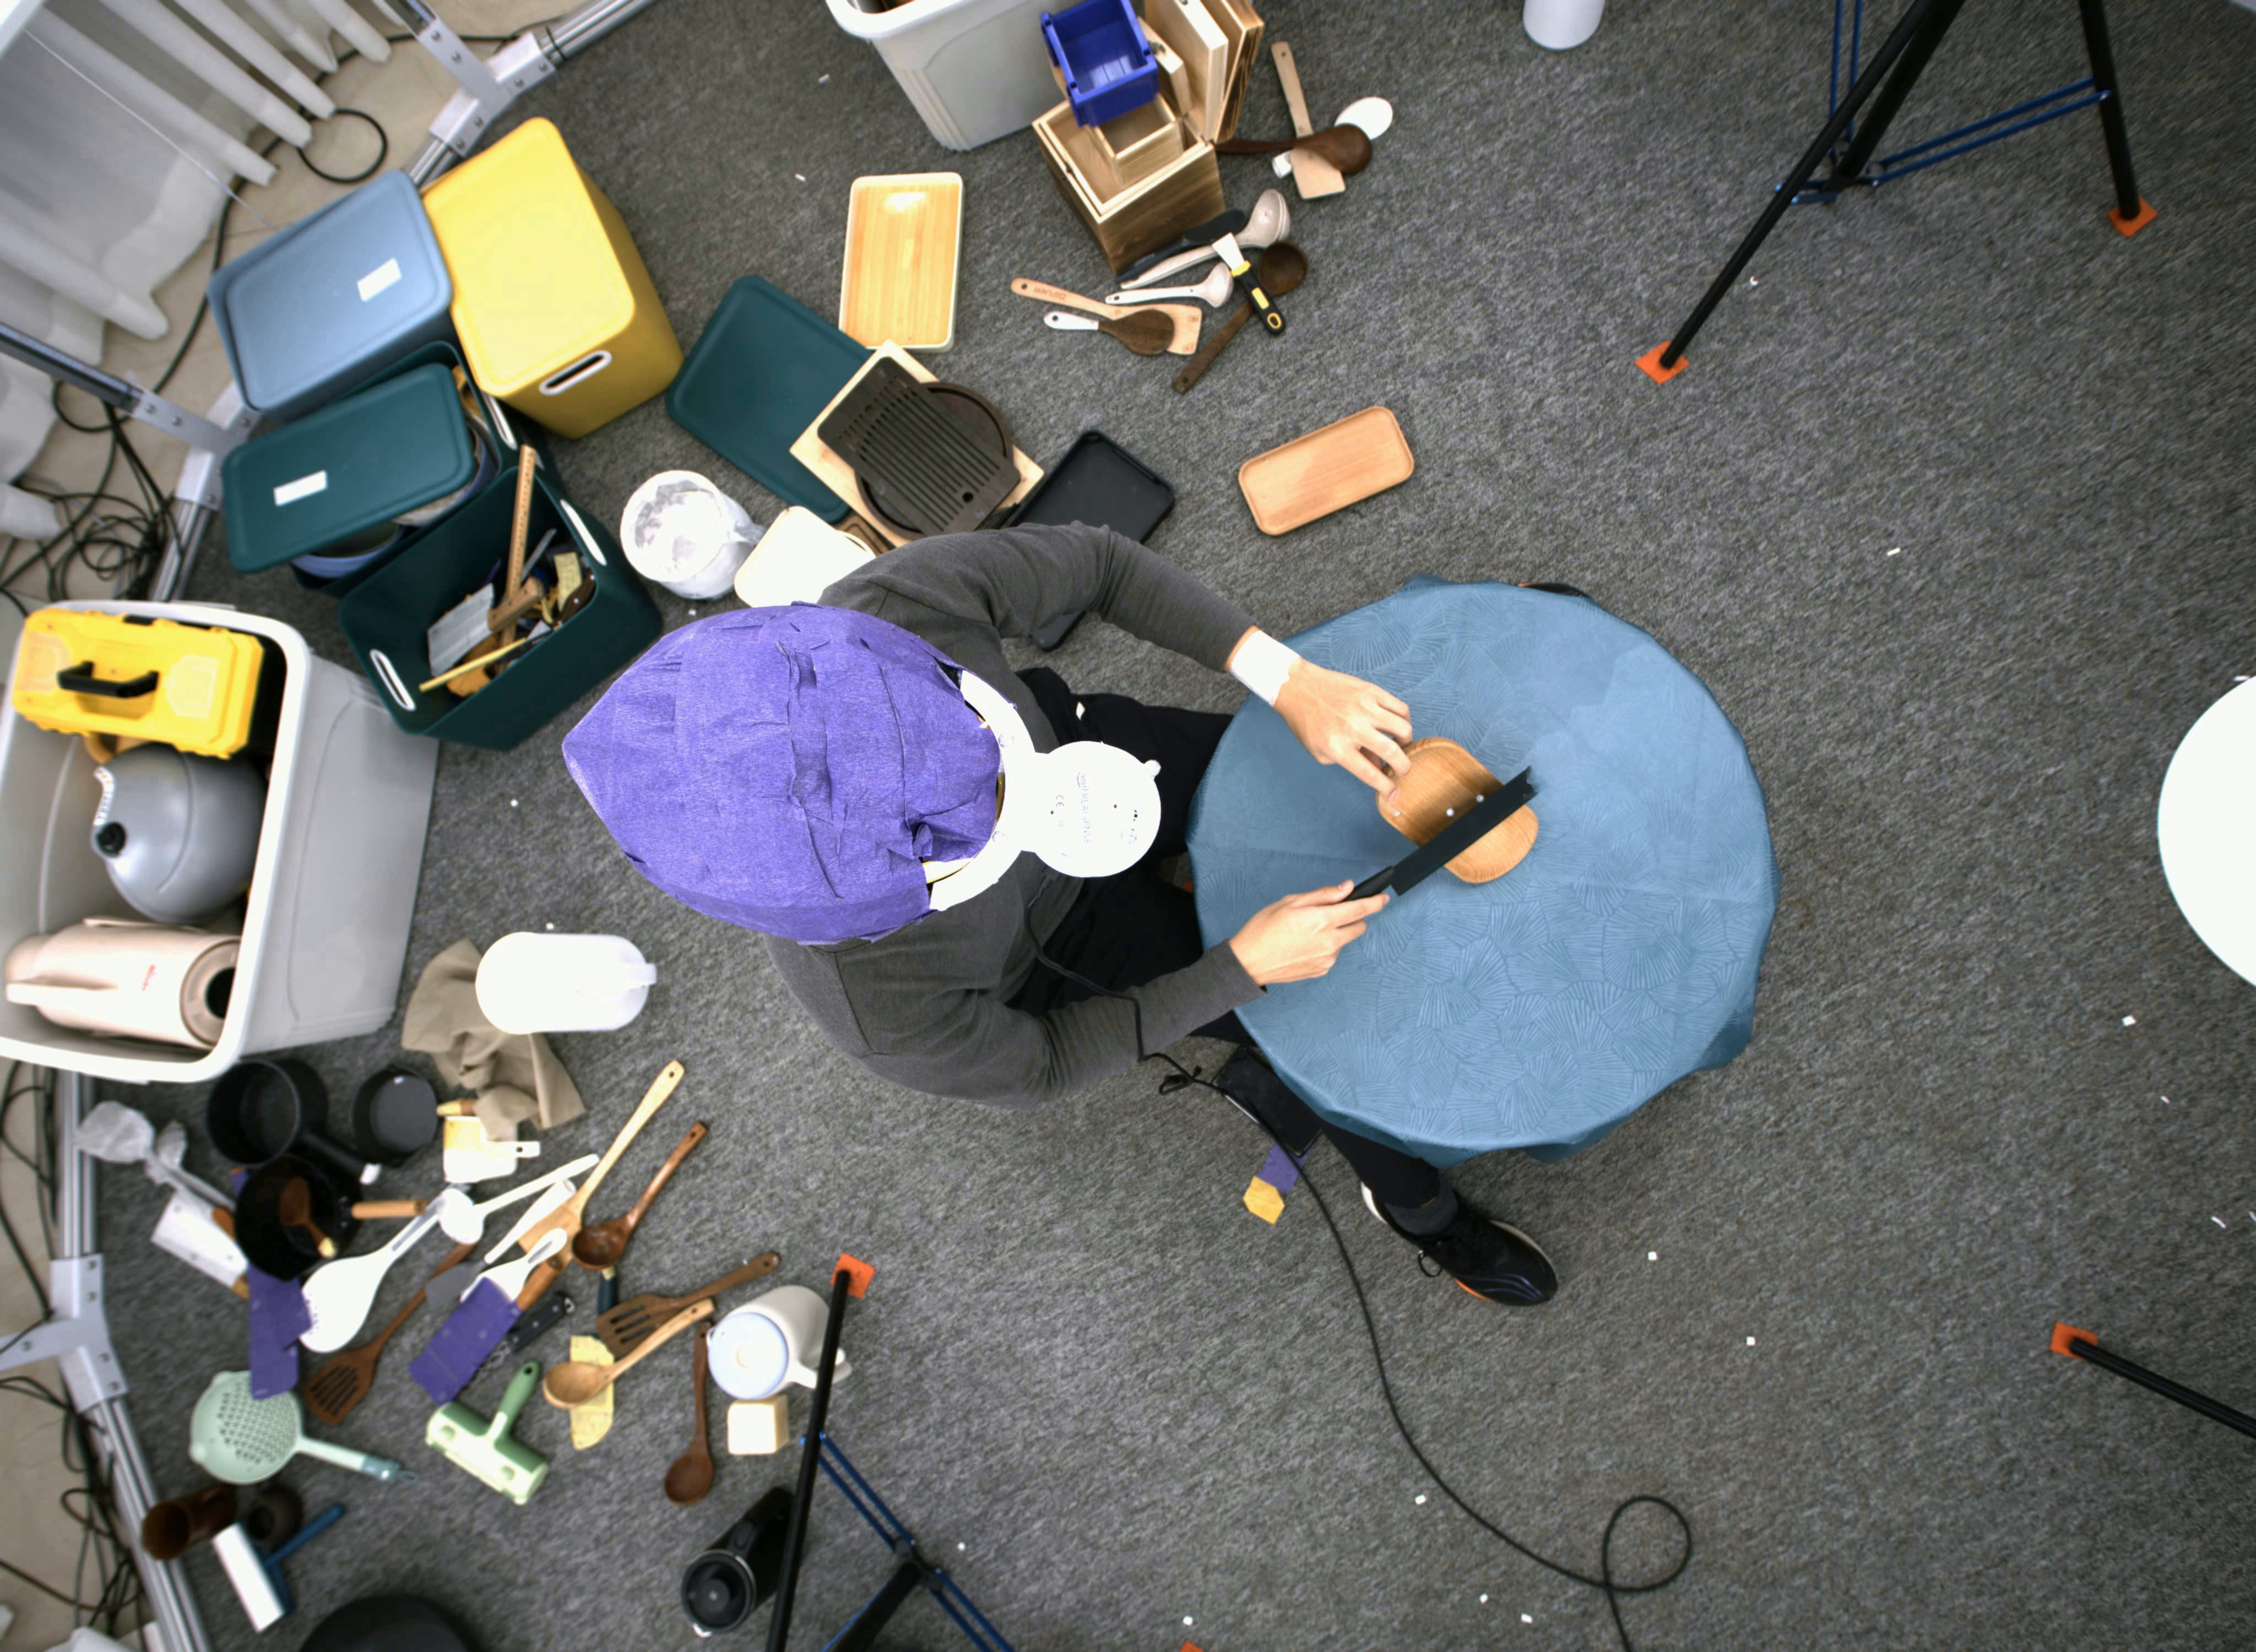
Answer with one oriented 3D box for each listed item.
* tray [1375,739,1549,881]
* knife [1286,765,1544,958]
[{"bbox_3d":[0.332,-0.016,1.360,0.103,0.232,0.020,-48,38,20],"label":"tray"},{"bbox_3d":[0.282,0.037,1.357,0.303,0.082,0.020,-34,57,5],"label":"knife"}]
